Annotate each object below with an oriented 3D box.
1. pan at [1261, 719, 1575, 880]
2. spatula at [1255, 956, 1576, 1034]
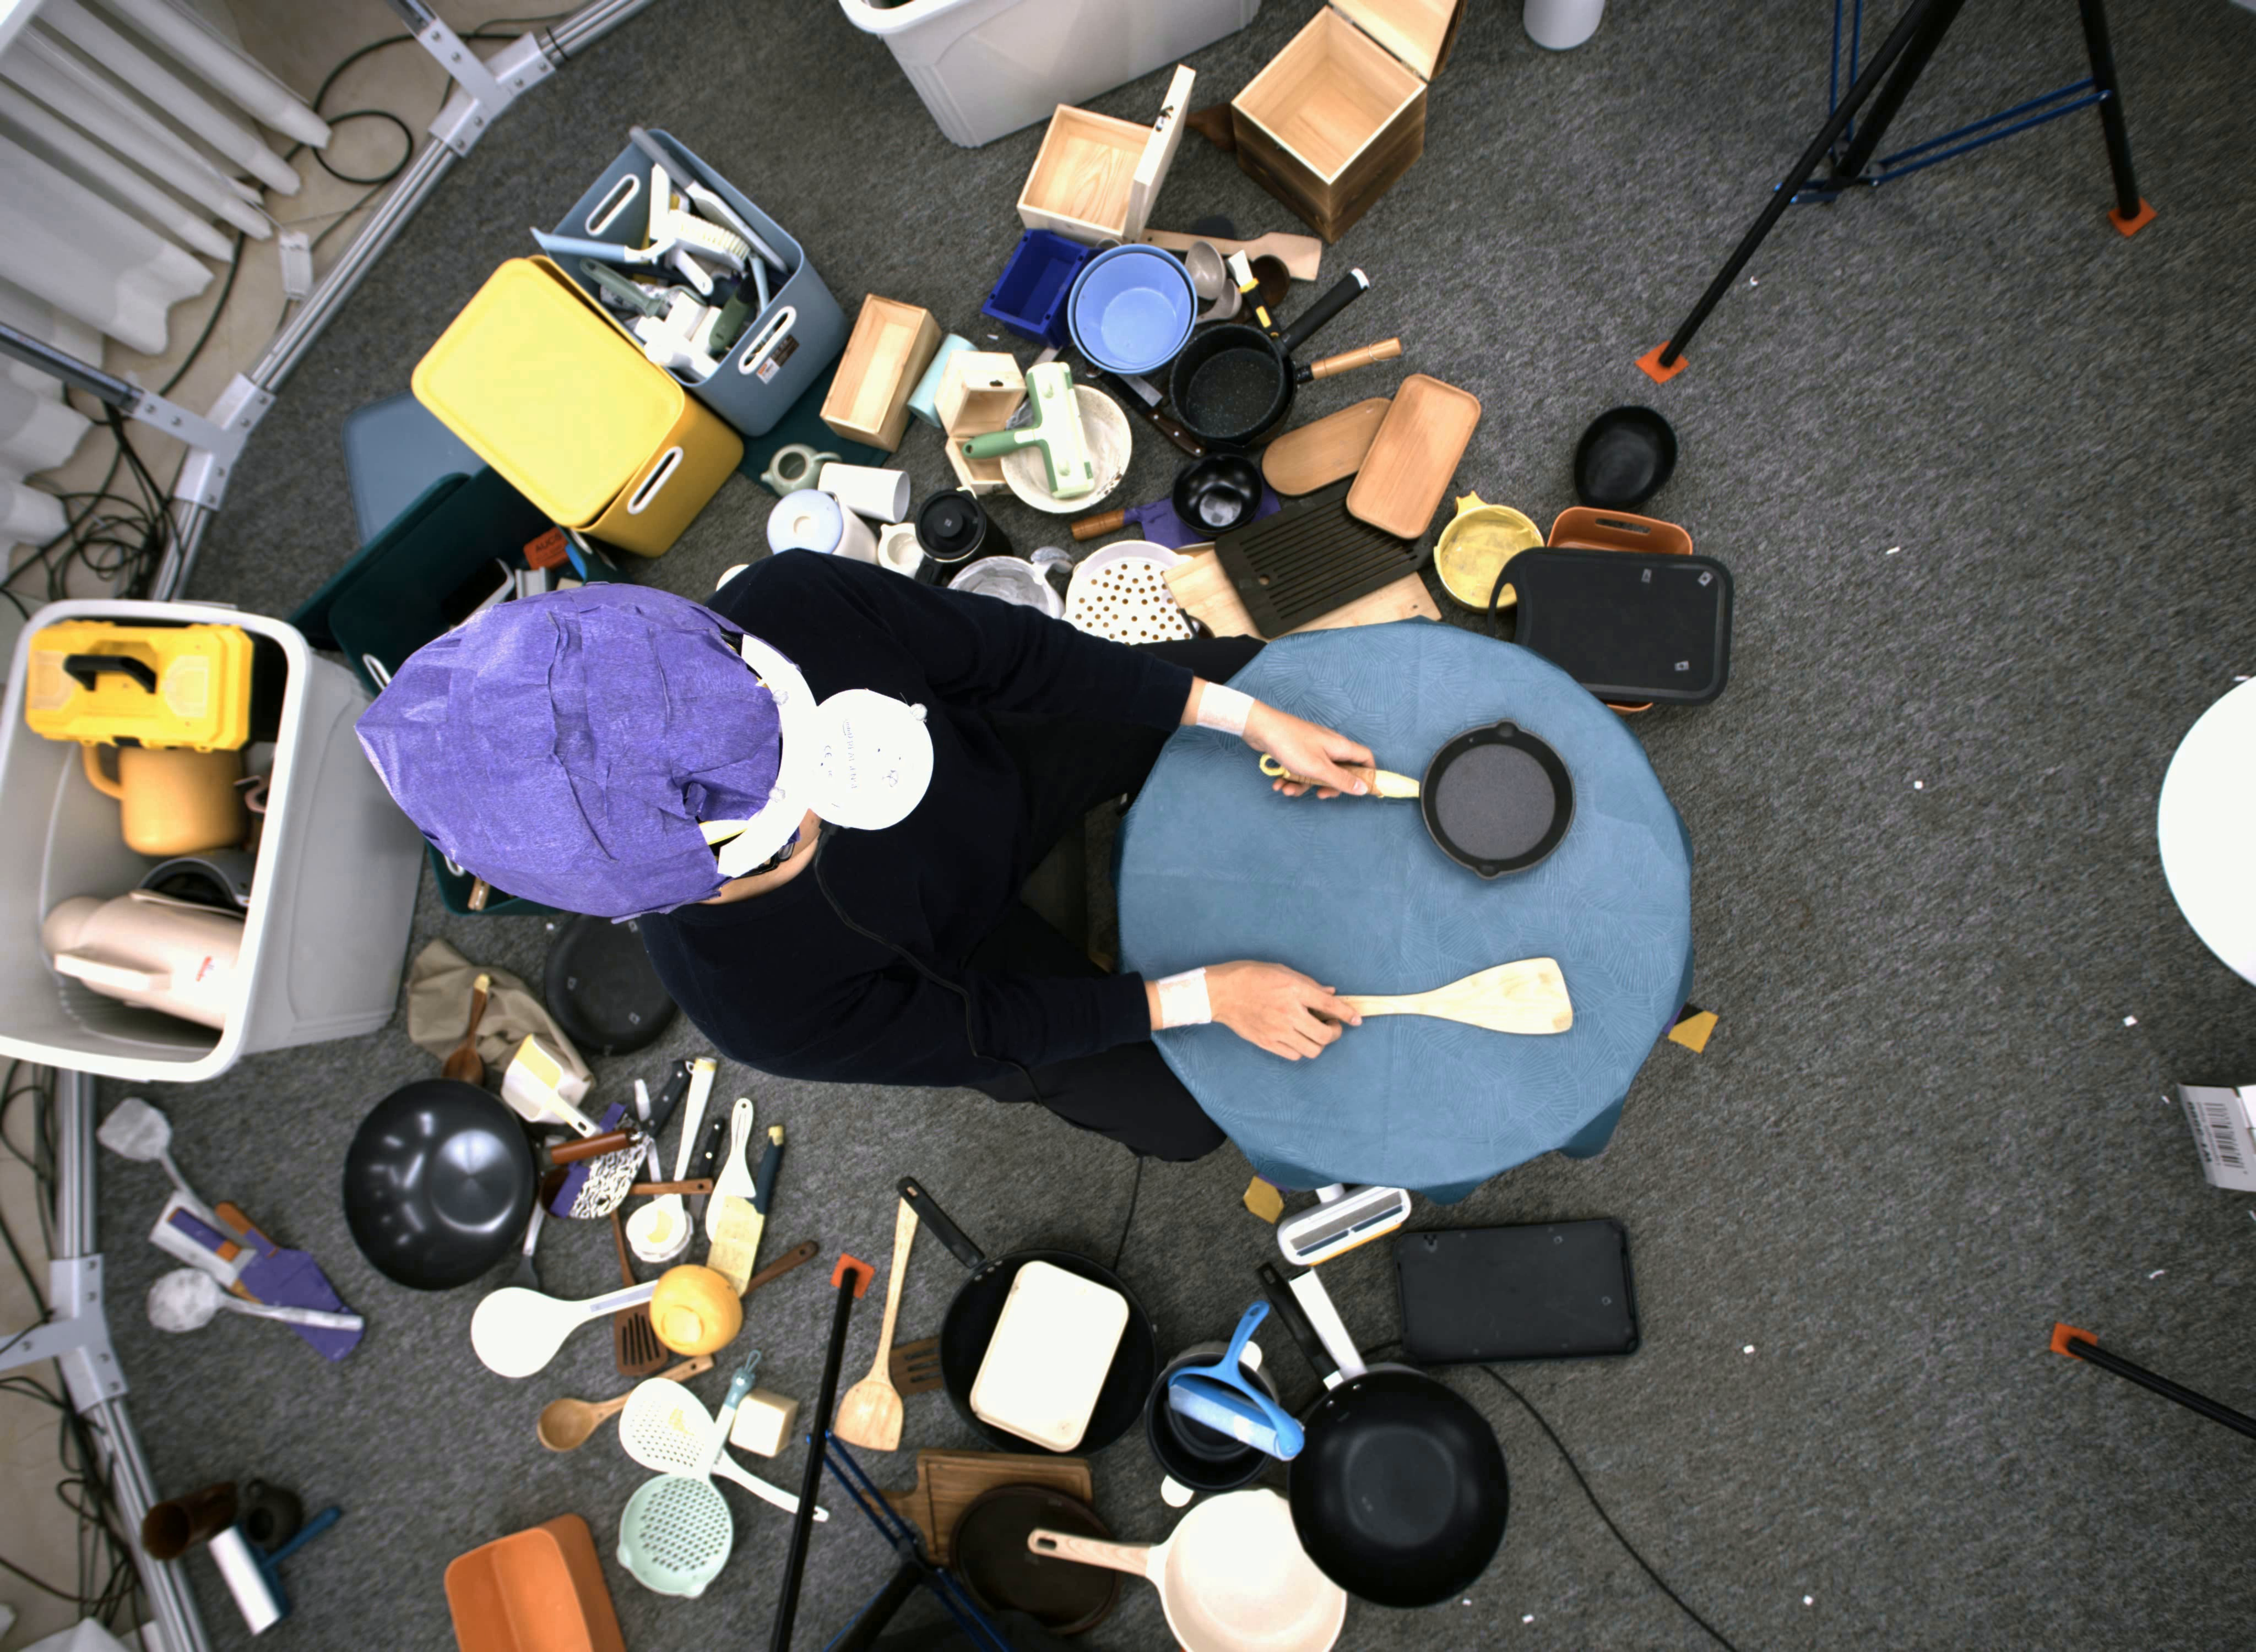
[{"bbox_3d":[0.300,-0.044,1.435,0.325,0.049,0.168,11,89,9],"label":"pan"},{"bbox_3d":[0.296,0.182,1.440,0.329,0.016,0.079,-4,84,10],"label":"spatula"}]
